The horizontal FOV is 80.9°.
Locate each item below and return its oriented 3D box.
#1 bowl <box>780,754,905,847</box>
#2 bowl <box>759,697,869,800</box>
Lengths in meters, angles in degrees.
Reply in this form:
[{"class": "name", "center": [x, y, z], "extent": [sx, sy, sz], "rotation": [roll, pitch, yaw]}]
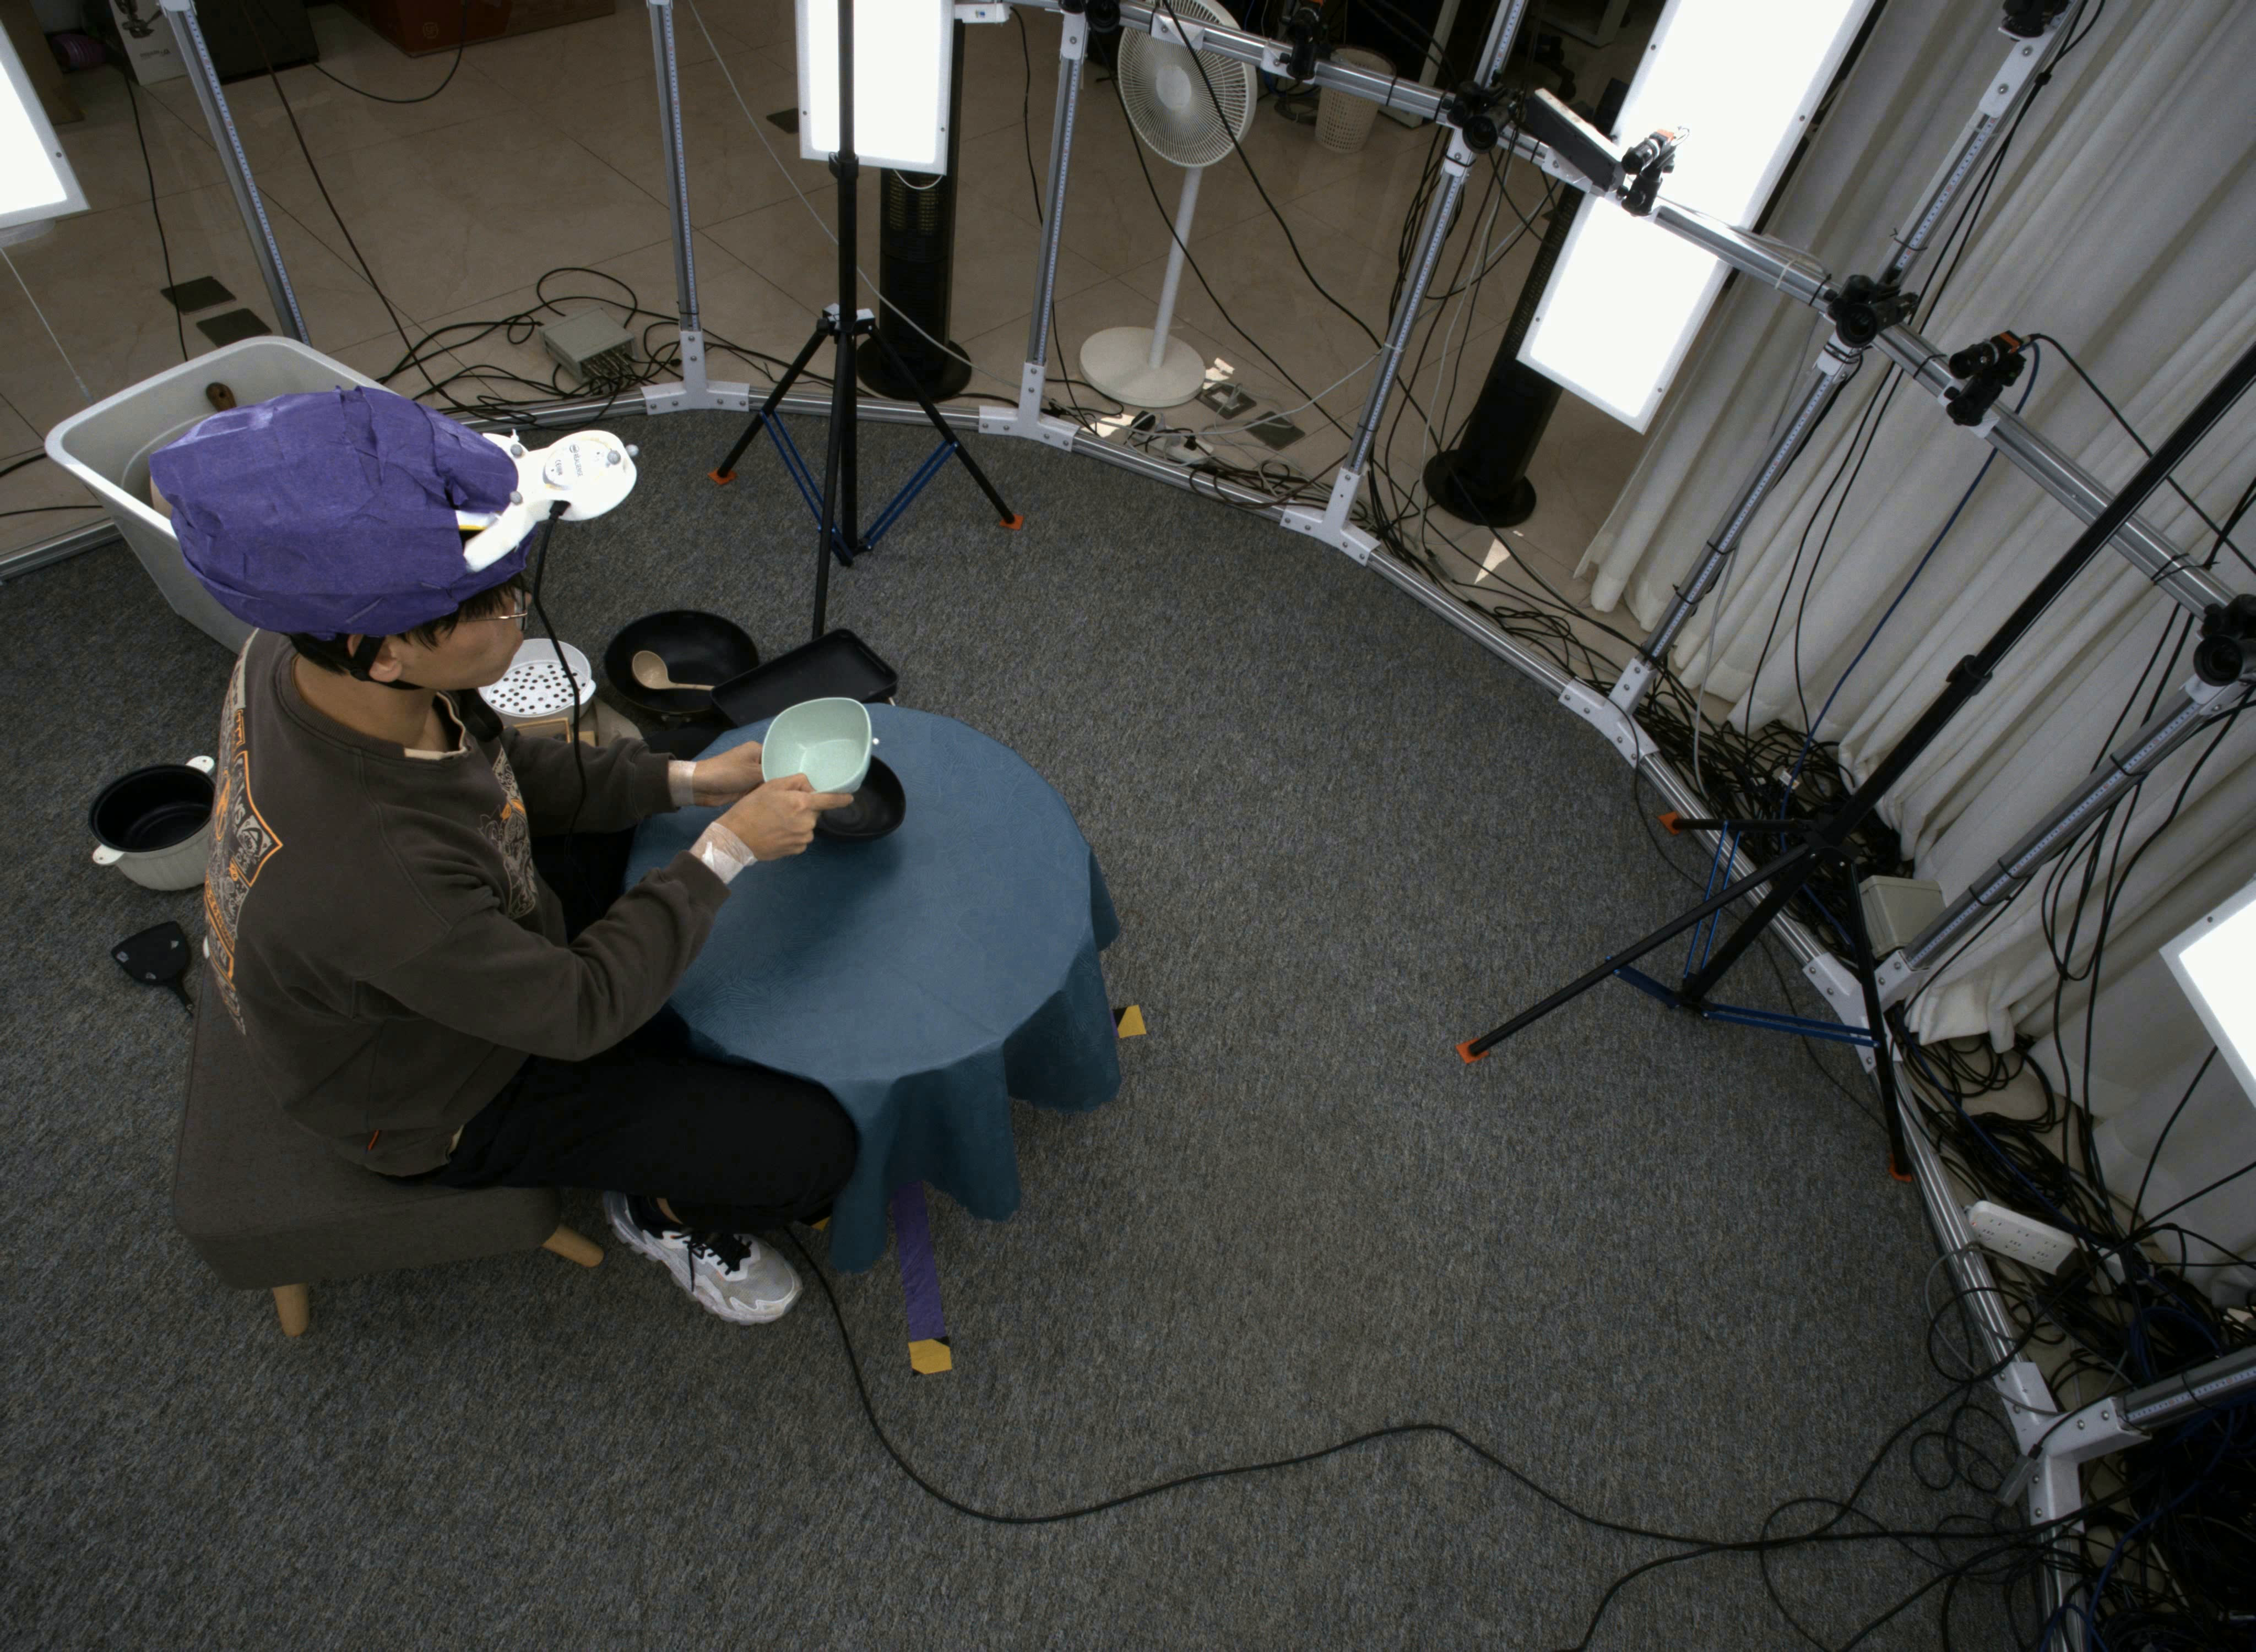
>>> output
[{"class": "bowl", "center": [-0.374, -0.028, 1.708], "extent": [0.169, 0.068, 0.136], "rotation": [20, 55, 0]}, {"class": "bowl", "center": [-0.376, -0.084, 1.592], "extent": [0.148, 0.060, 0.149], "rotation": [-5, 58, 9]}]
